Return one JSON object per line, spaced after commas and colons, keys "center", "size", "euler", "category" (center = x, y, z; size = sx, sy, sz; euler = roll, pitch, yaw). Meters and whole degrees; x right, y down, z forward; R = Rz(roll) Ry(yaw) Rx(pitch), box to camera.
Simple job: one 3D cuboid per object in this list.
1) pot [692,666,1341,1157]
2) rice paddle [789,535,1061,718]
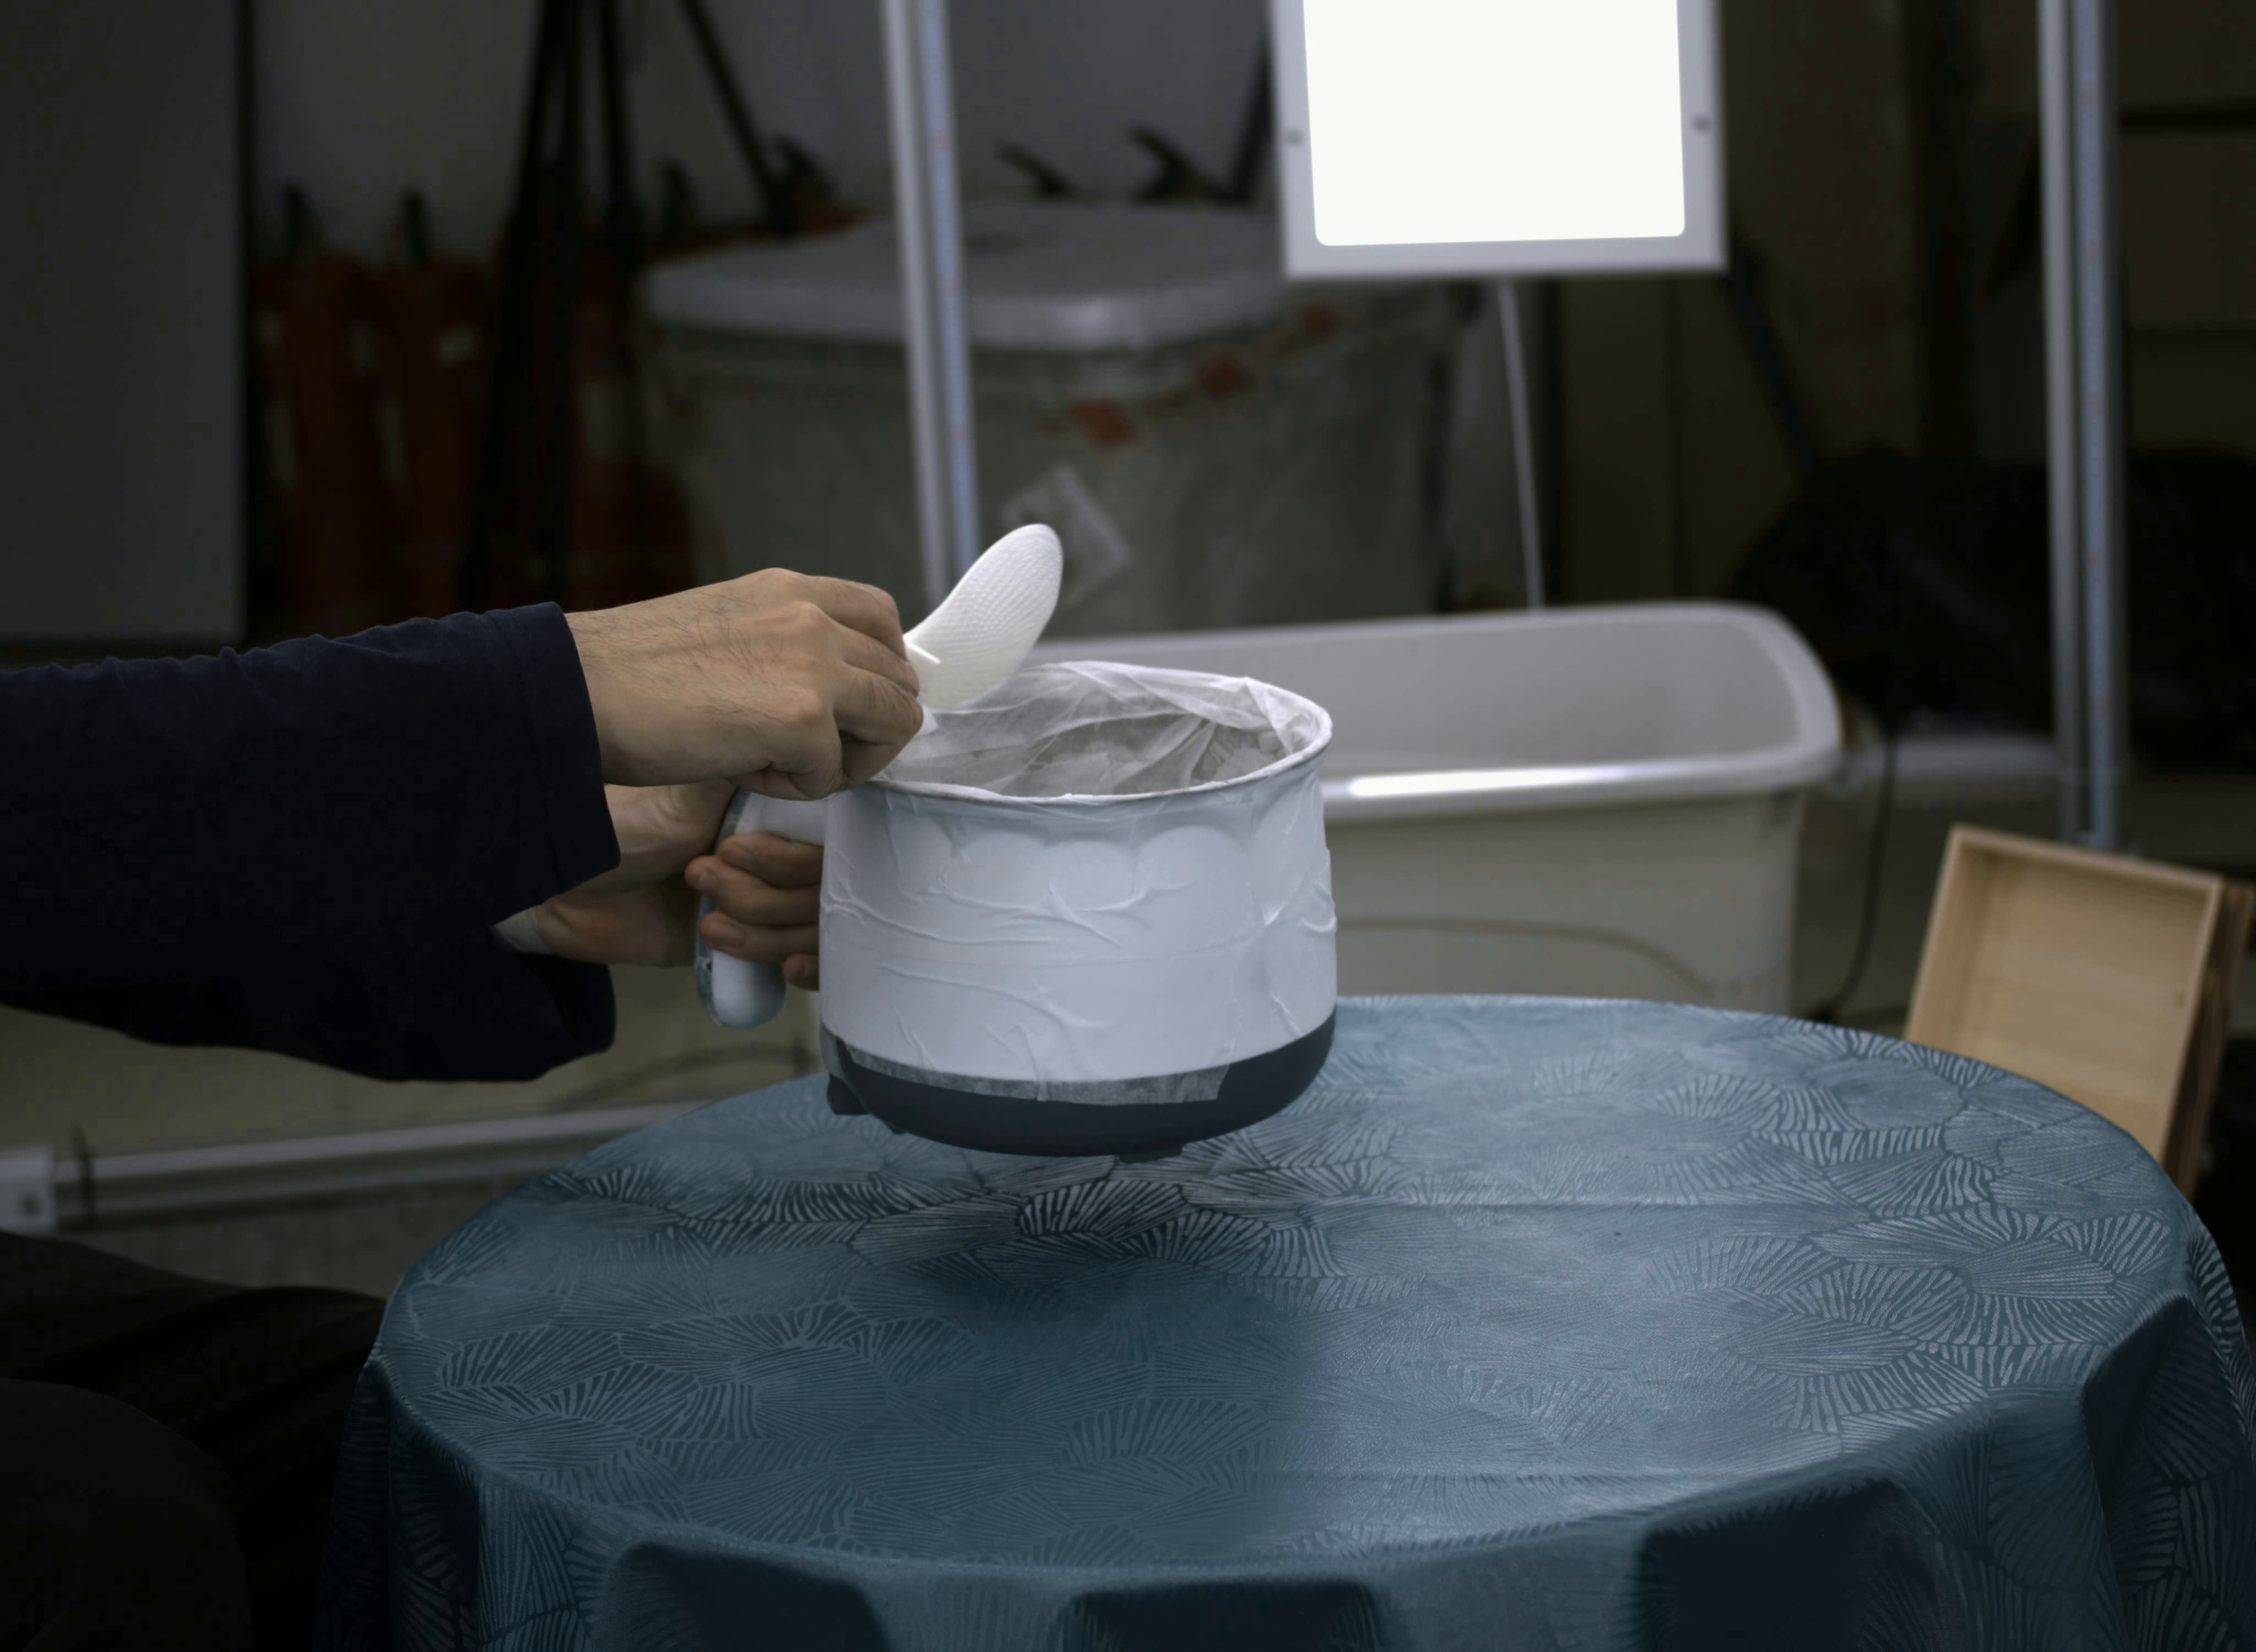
{"center": [-0.043, 0.024, 1.883], "size": [0.237, 0.137, 0.175], "euler": [6, 15, 23], "category": "pot"}
{"center": [-0.063, -0.067, 1.859], "size": [0.030, 0.069, 0.202], "euler": [25, 10, 17], "category": "rice paddle"}
